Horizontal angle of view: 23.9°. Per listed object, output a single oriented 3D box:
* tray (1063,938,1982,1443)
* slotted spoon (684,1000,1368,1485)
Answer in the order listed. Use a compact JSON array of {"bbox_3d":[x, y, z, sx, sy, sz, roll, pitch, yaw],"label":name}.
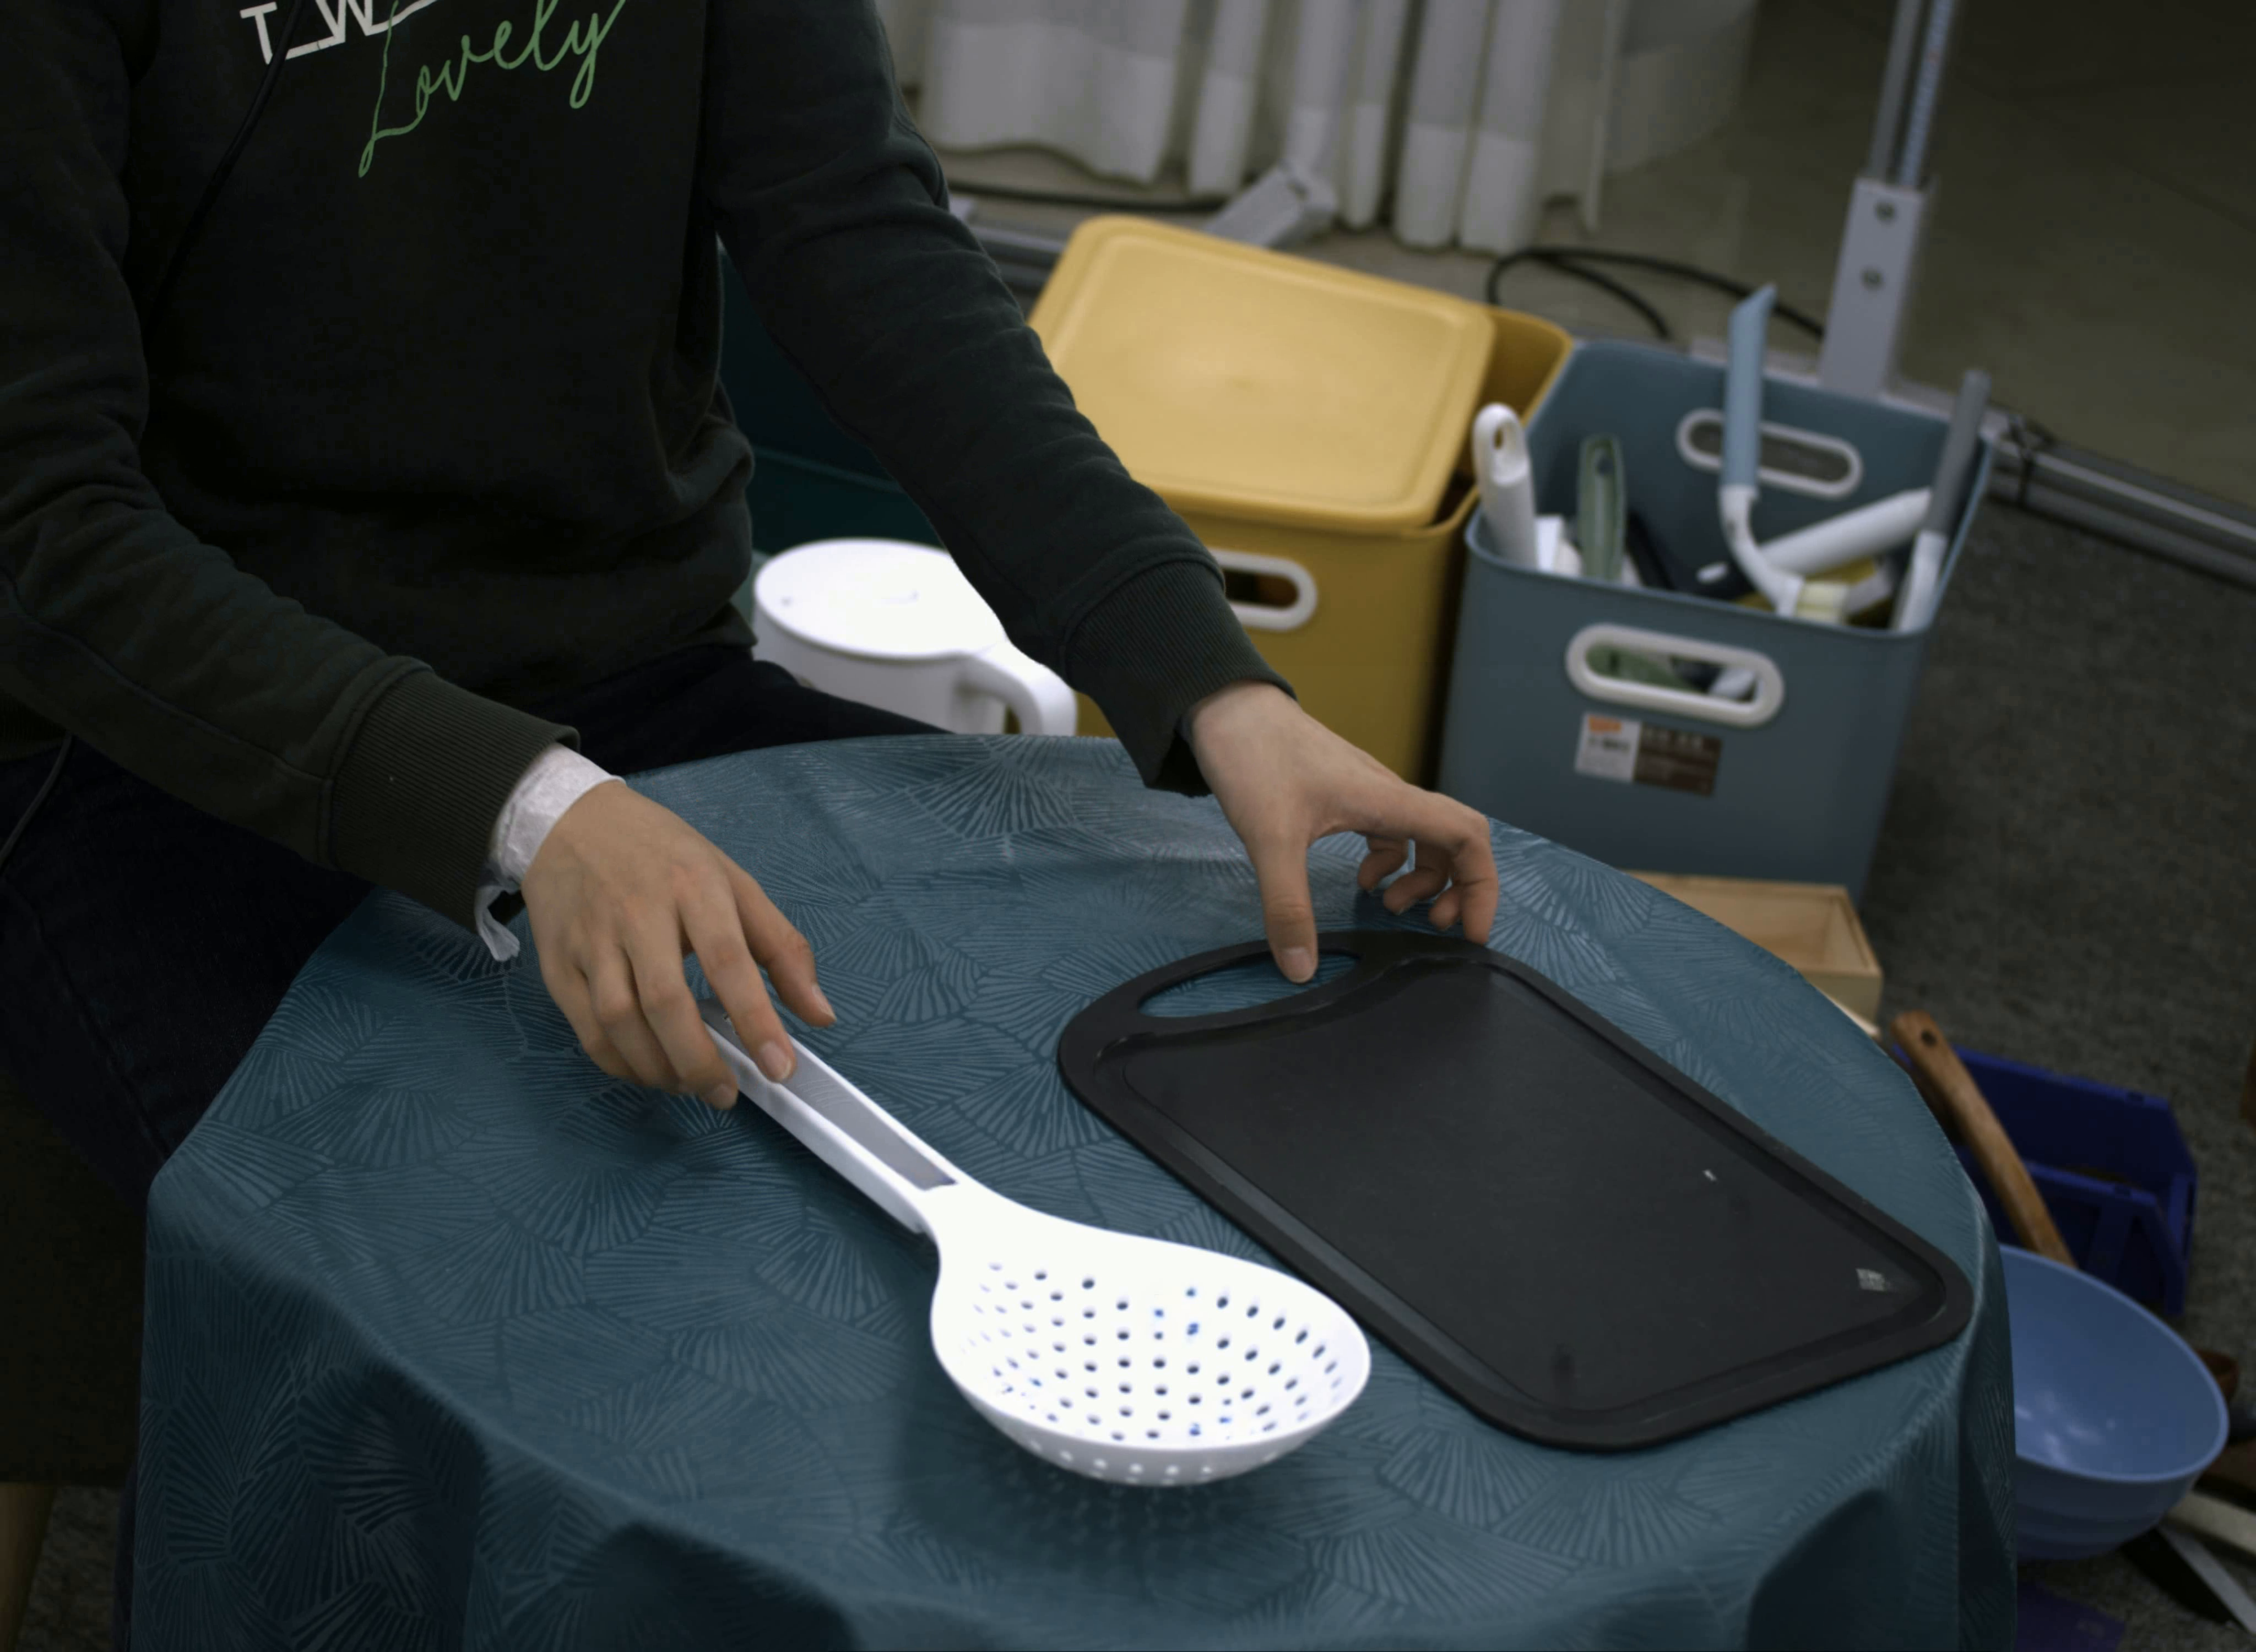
[{"bbox_3d":[0.126,0.116,1.837,0.210,0.010,0.328,-13,32,-34],"label":"tray"},{"bbox_3d":[-0.052,0.129,1.728,0.135,0.045,0.353,-9,29,-32],"label":"slotted spoon"}]
